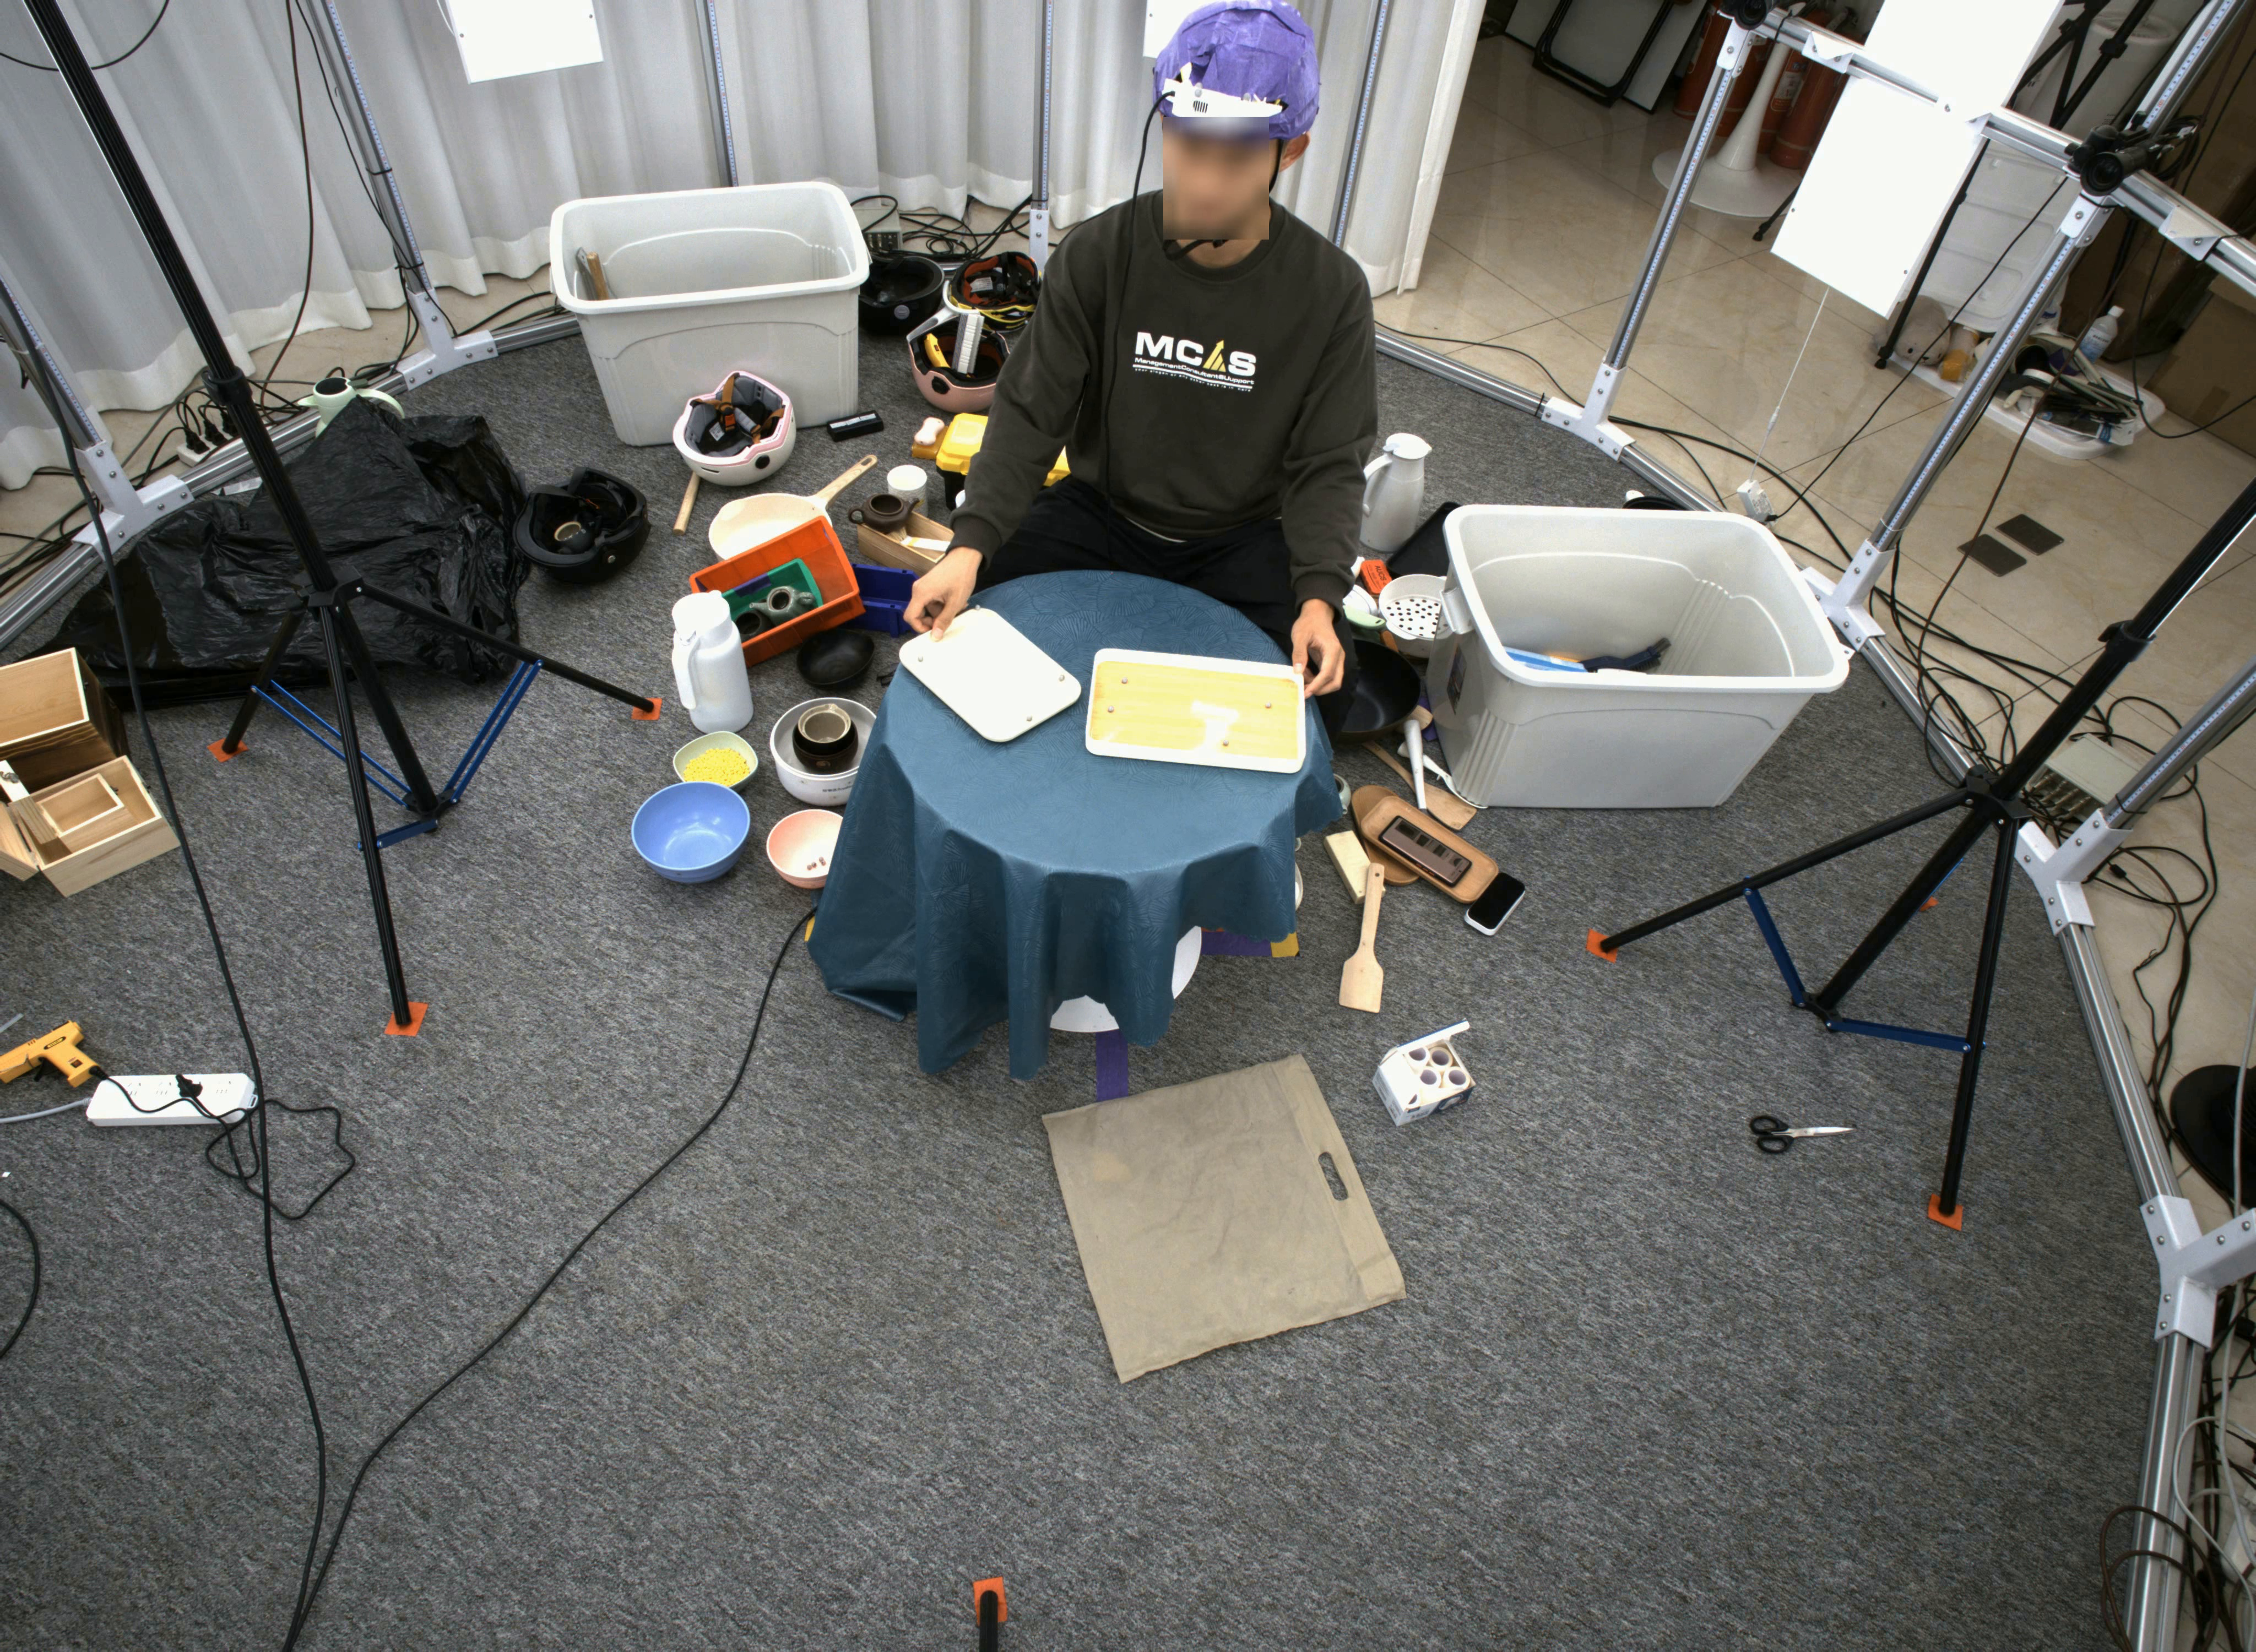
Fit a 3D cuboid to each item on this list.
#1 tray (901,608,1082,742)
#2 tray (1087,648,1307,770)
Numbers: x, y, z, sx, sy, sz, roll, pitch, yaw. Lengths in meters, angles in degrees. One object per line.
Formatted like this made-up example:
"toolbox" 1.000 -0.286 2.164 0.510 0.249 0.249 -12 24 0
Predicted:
"tray" -0.194 -0.216 1.827 0.172 0.017 0.243 -33 59 -28
"tray" 0.098 -0.166 1.799 0.300 0.027 0.196 5 49 0
